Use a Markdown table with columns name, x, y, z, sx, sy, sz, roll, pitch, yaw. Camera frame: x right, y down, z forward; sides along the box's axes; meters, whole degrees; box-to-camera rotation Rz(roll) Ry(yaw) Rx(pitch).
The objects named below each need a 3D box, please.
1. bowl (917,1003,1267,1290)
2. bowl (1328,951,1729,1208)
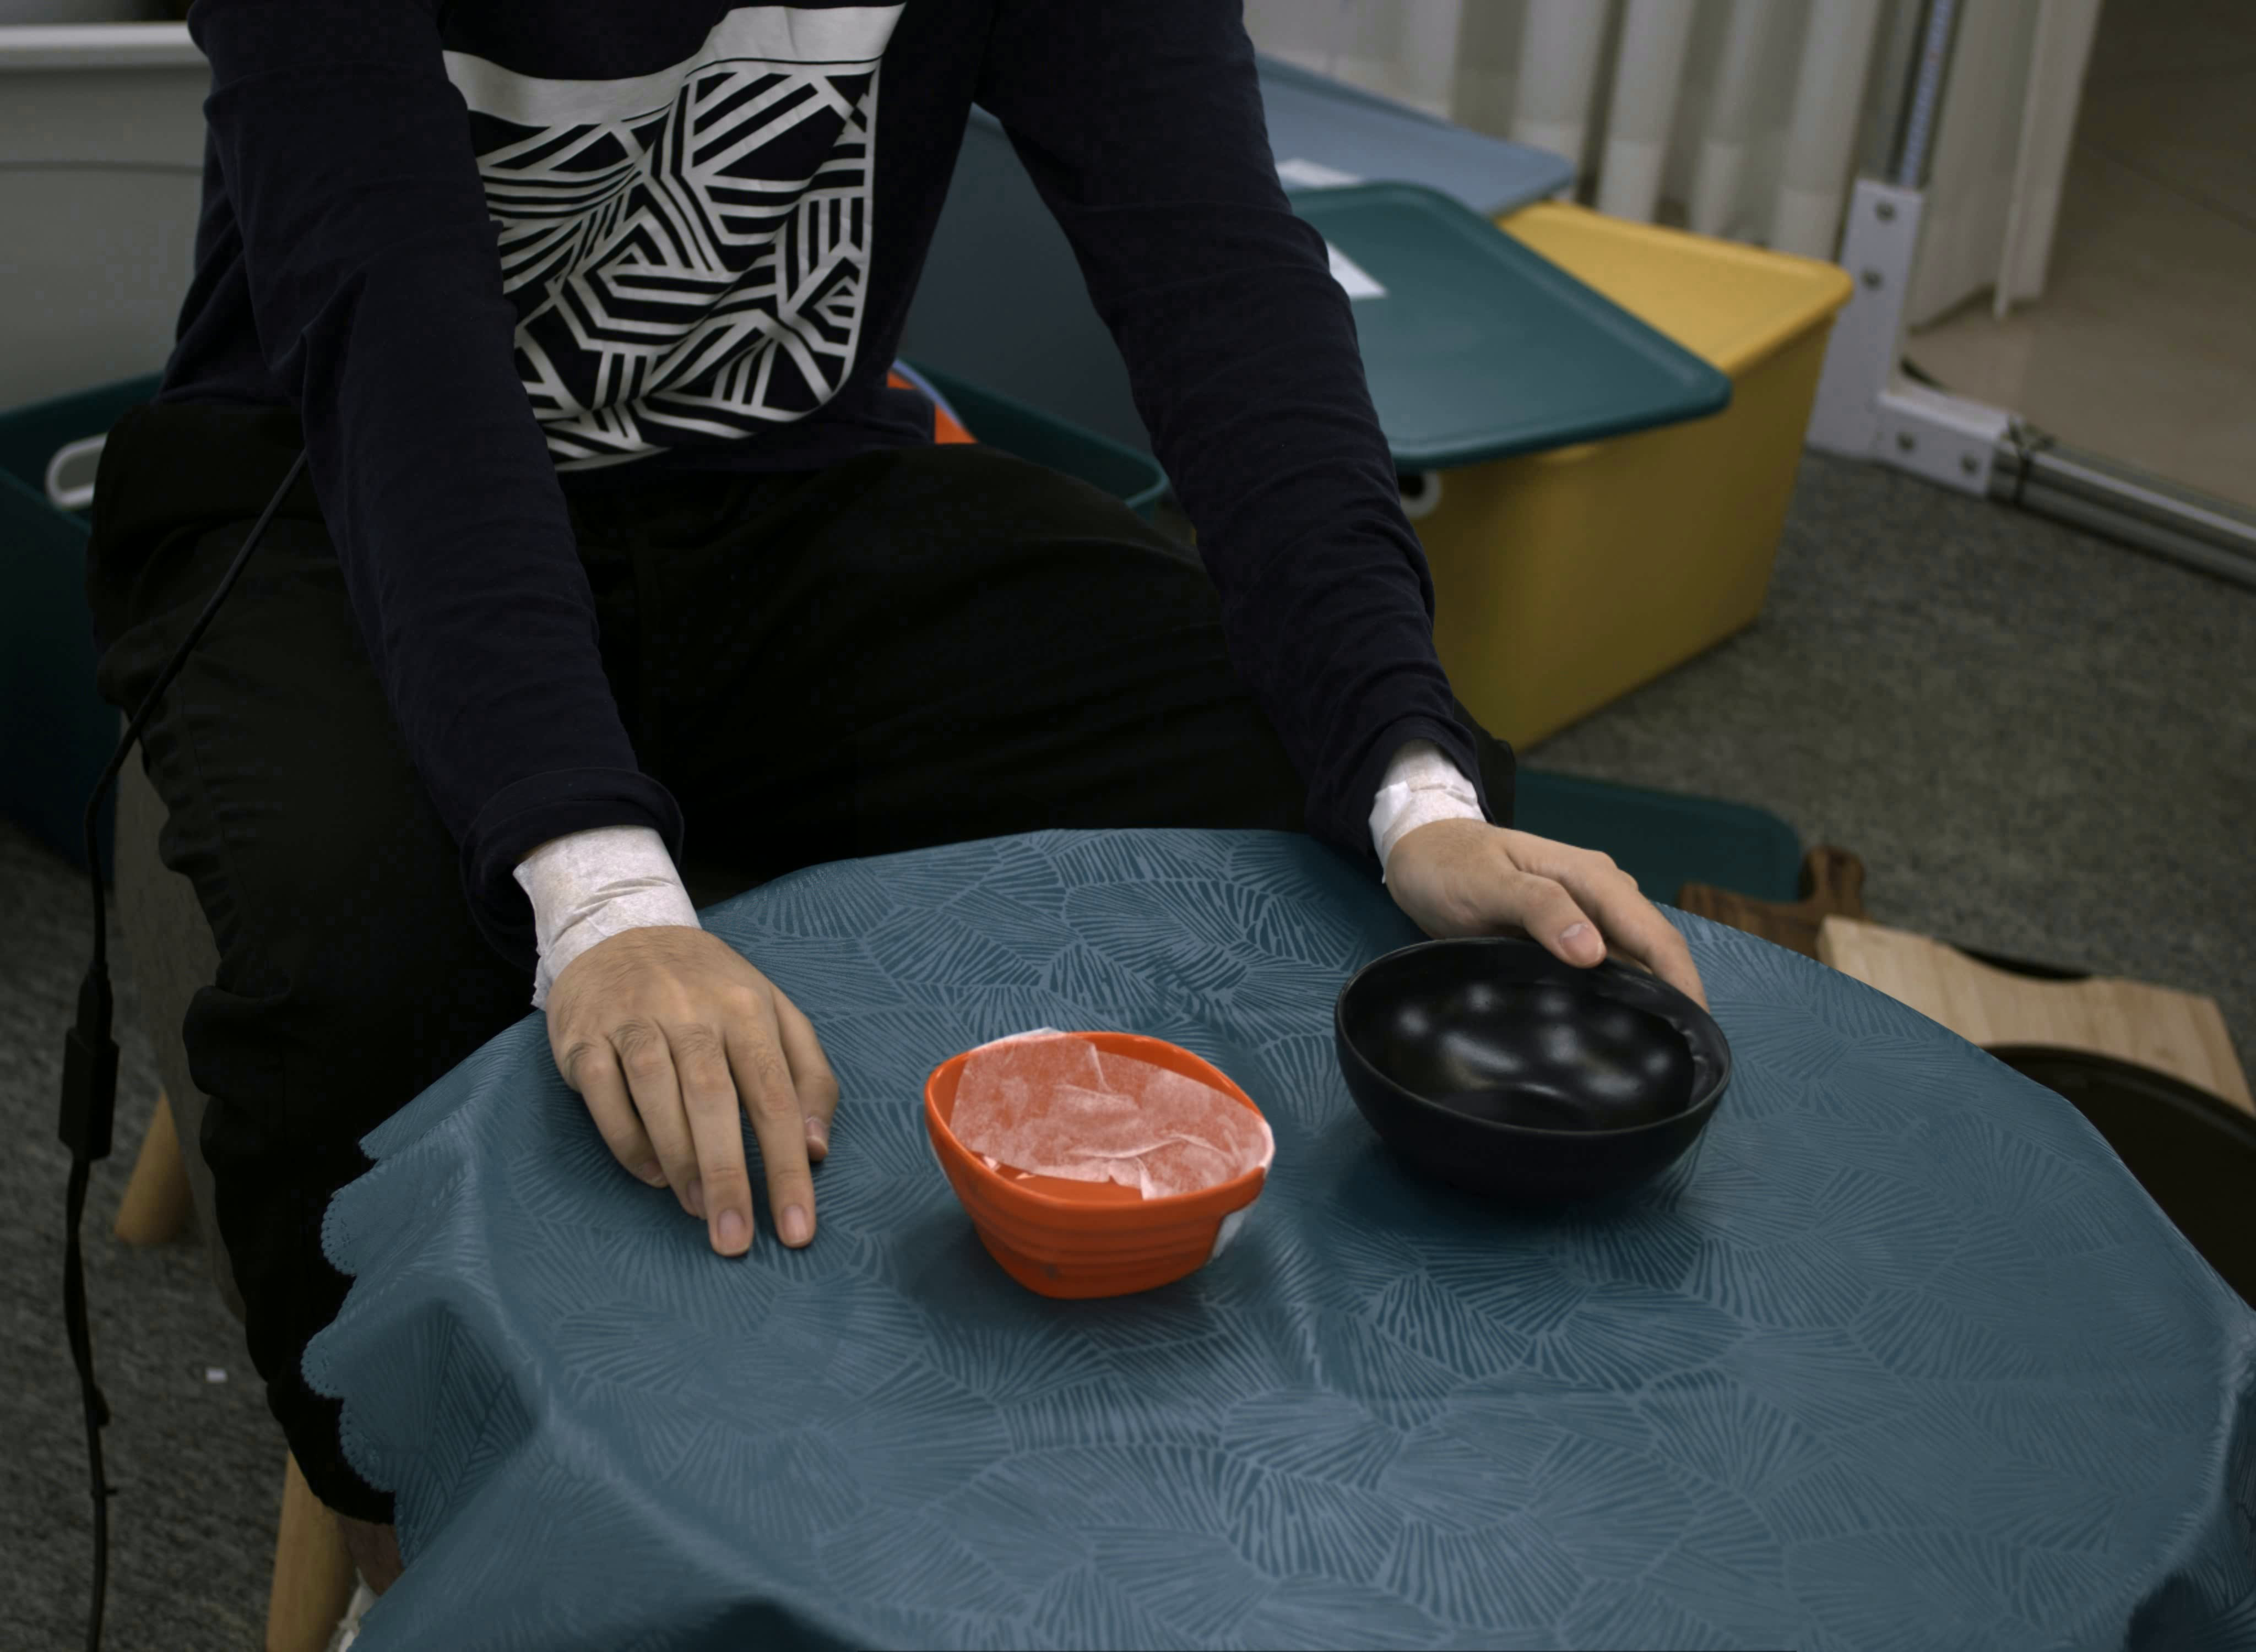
| name | x | y | z | sx | sy | sz | roll | pitch | yaw |
| --- | --- | --- | --- | --- | --- | --- | --- | --- | --- |
| bowl | -0.013 | 0.111 | 1.759 | 0.118 | 0.051 | 0.120 | 1 | 33 | -1 |
| bowl | 0.137 | 0.095 | 1.845 | 0.139 | 0.049 | 0.141 | 3 | 23 | -2 |
